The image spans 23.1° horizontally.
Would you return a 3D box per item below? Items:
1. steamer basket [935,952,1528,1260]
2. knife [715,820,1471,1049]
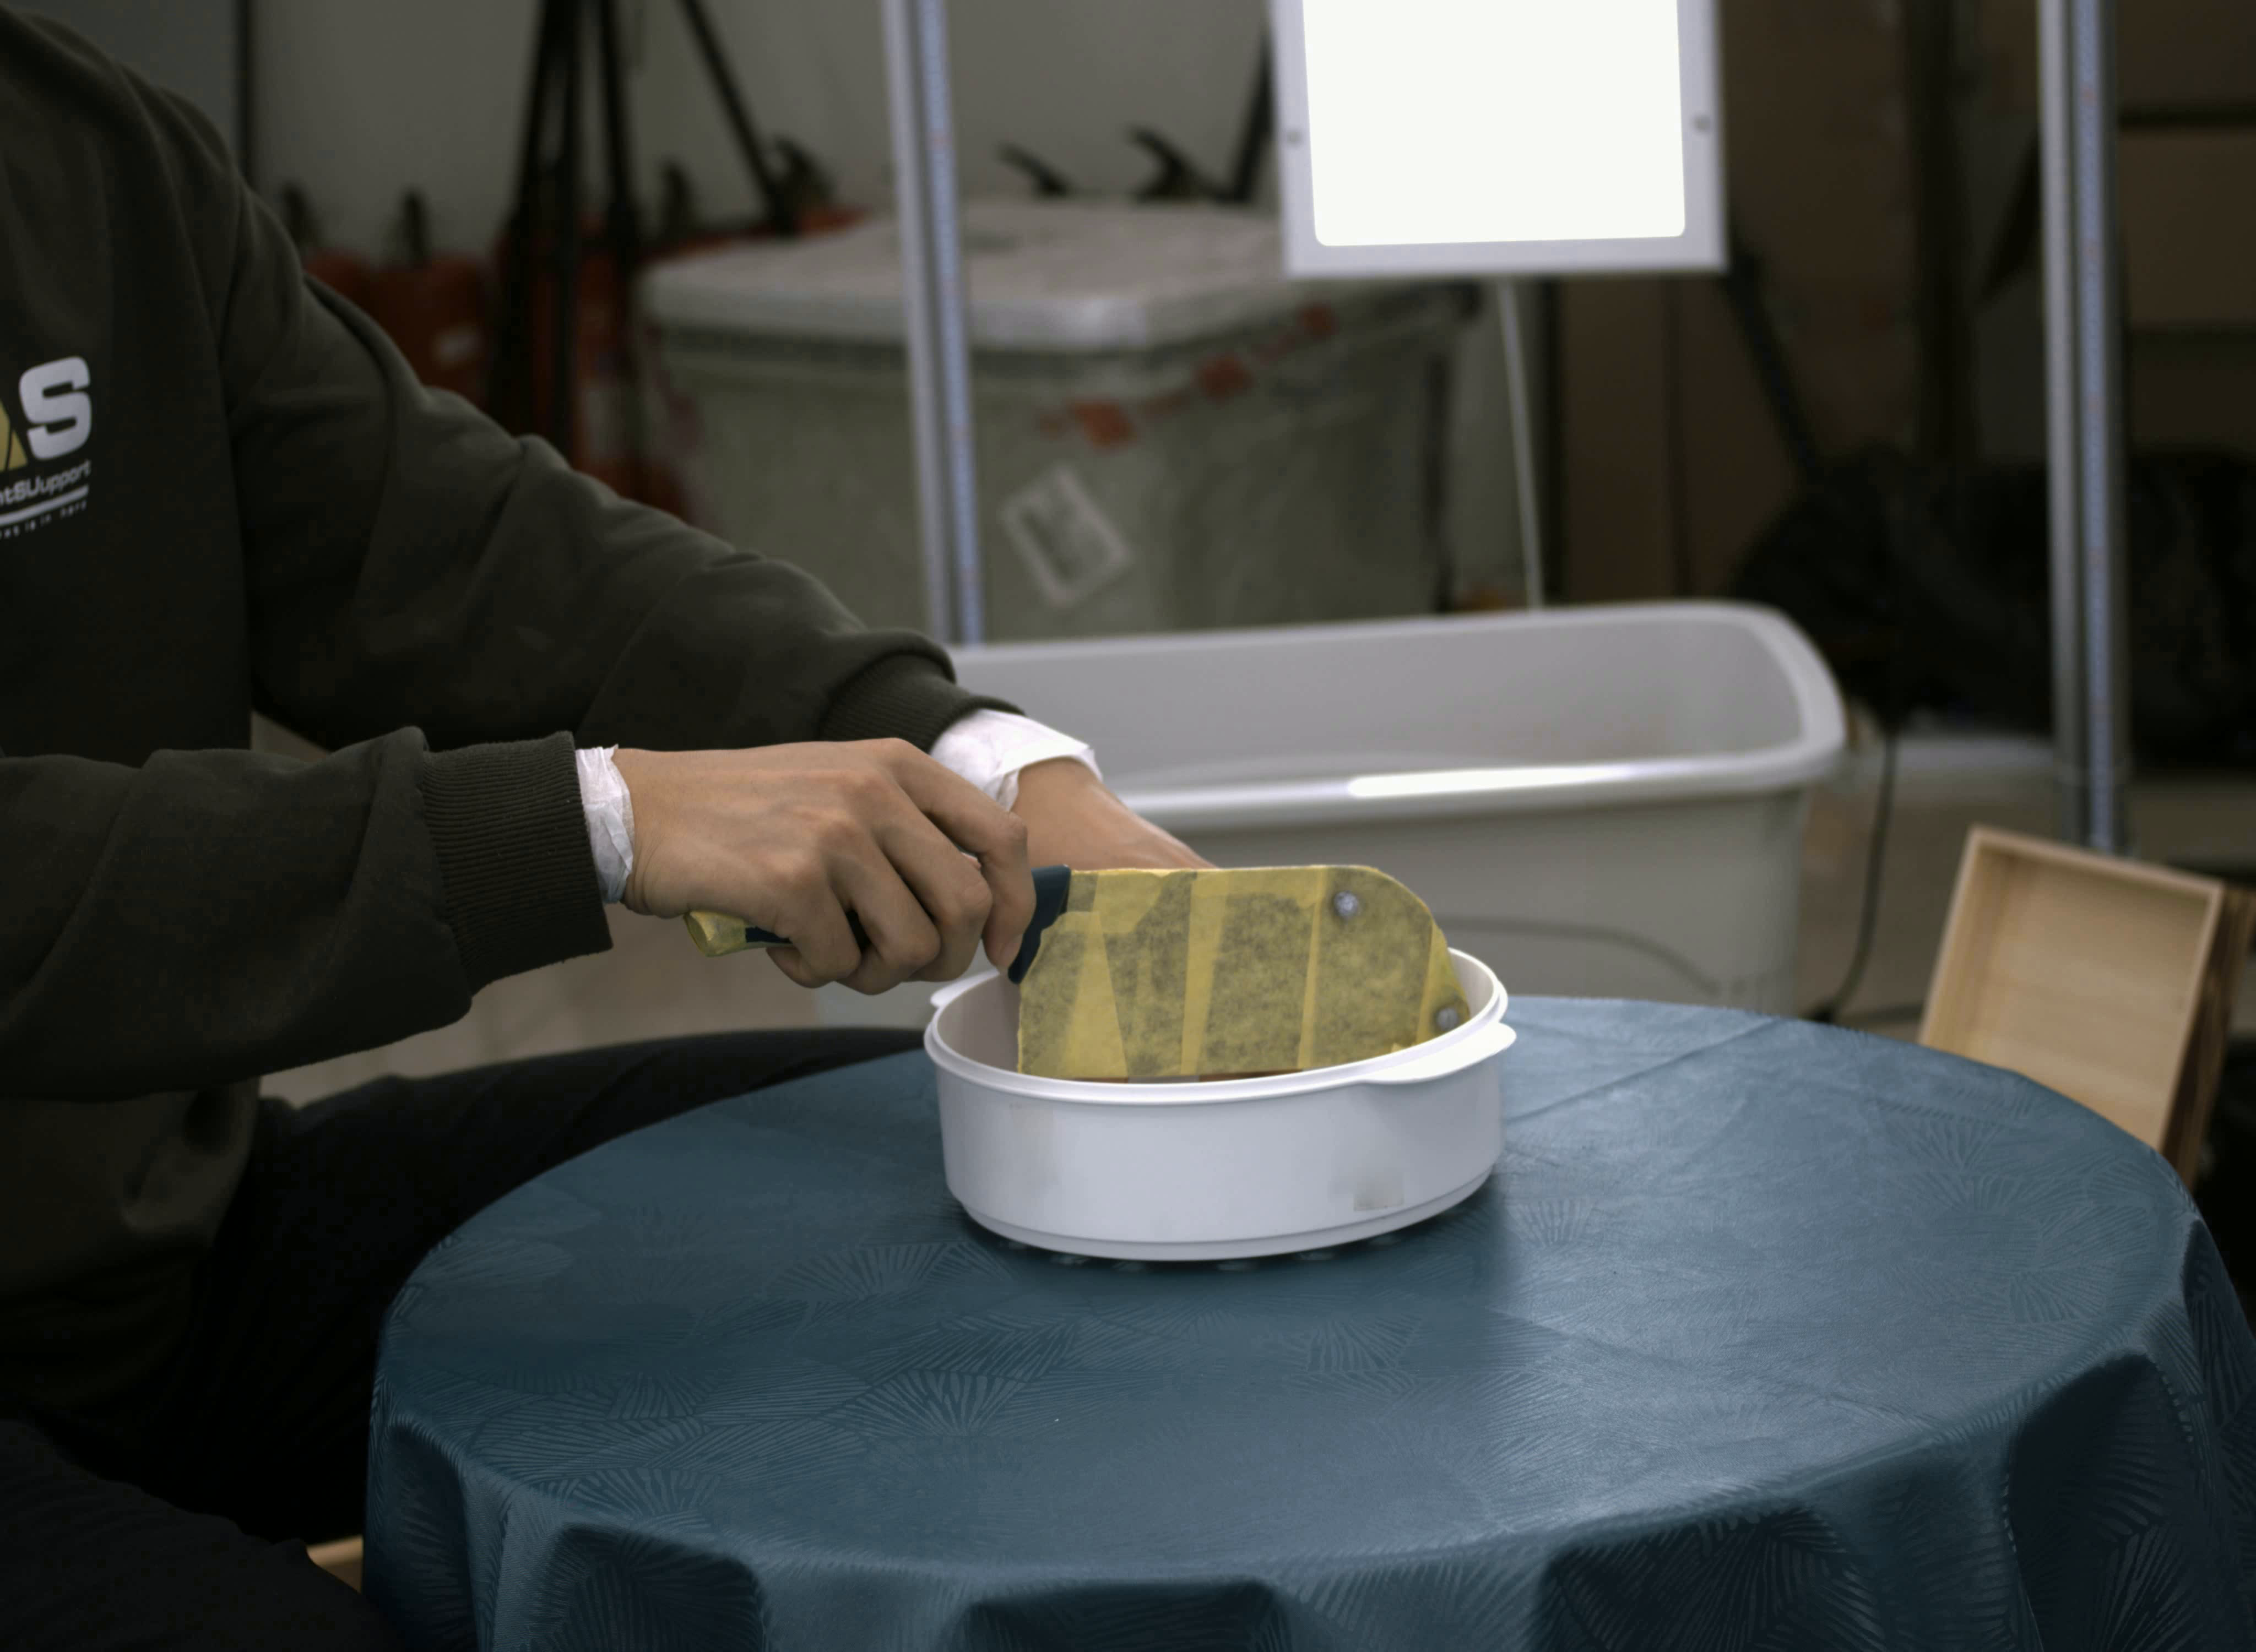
[{"bbox_3d":[0.036,0.093,1.885,0.235,0.069,0.197,6,17,43],"label":"steamer basket"},{"bbox_3d":[-0.008,0.037,1.844,0.283,0.082,0.027,8,23,-25],"label":"knife"}]
